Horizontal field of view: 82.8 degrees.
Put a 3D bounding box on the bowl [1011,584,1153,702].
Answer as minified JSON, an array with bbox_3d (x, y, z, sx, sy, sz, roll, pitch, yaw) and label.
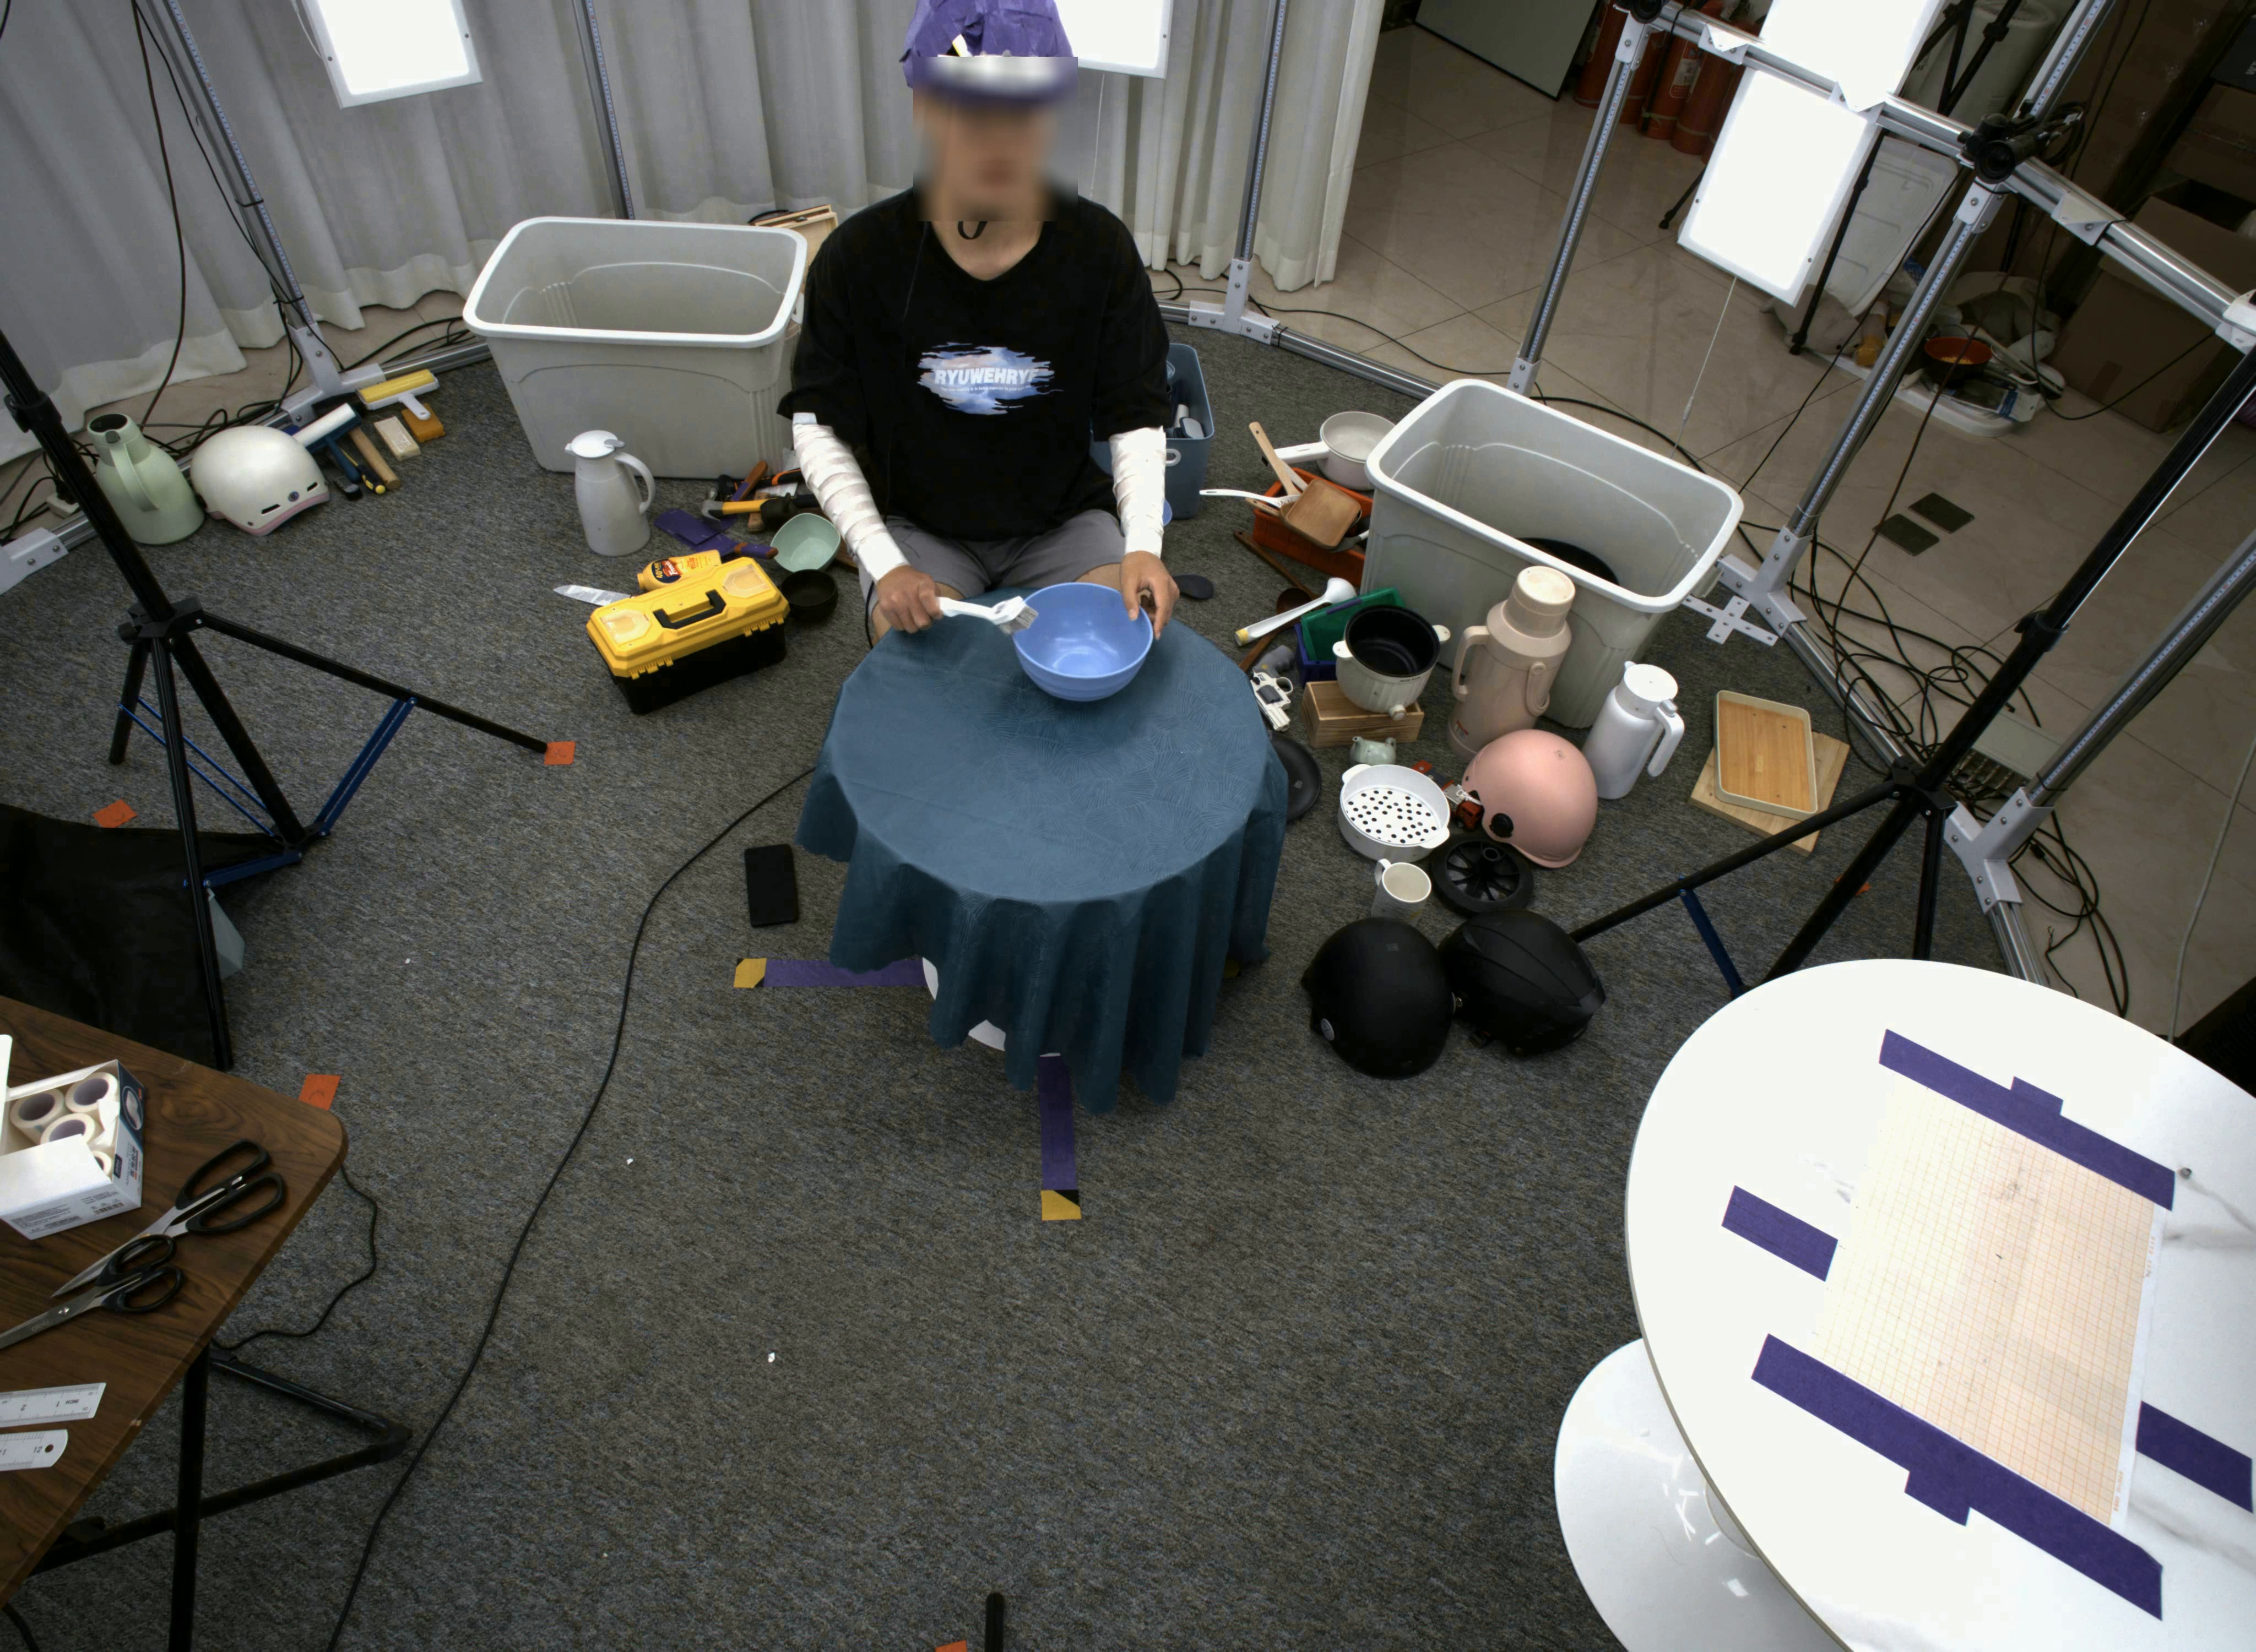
[{"bbox_3d":[-0.065,-0.244,1.820,0.196,0.093,0.201,1,49,-2],"label":"bowl"}]

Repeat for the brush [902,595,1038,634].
[{"bbox_3d":[-0.222,-0.295,1.807,0.245,0.049,0.035,7,60,40],"label":"brush"}]
